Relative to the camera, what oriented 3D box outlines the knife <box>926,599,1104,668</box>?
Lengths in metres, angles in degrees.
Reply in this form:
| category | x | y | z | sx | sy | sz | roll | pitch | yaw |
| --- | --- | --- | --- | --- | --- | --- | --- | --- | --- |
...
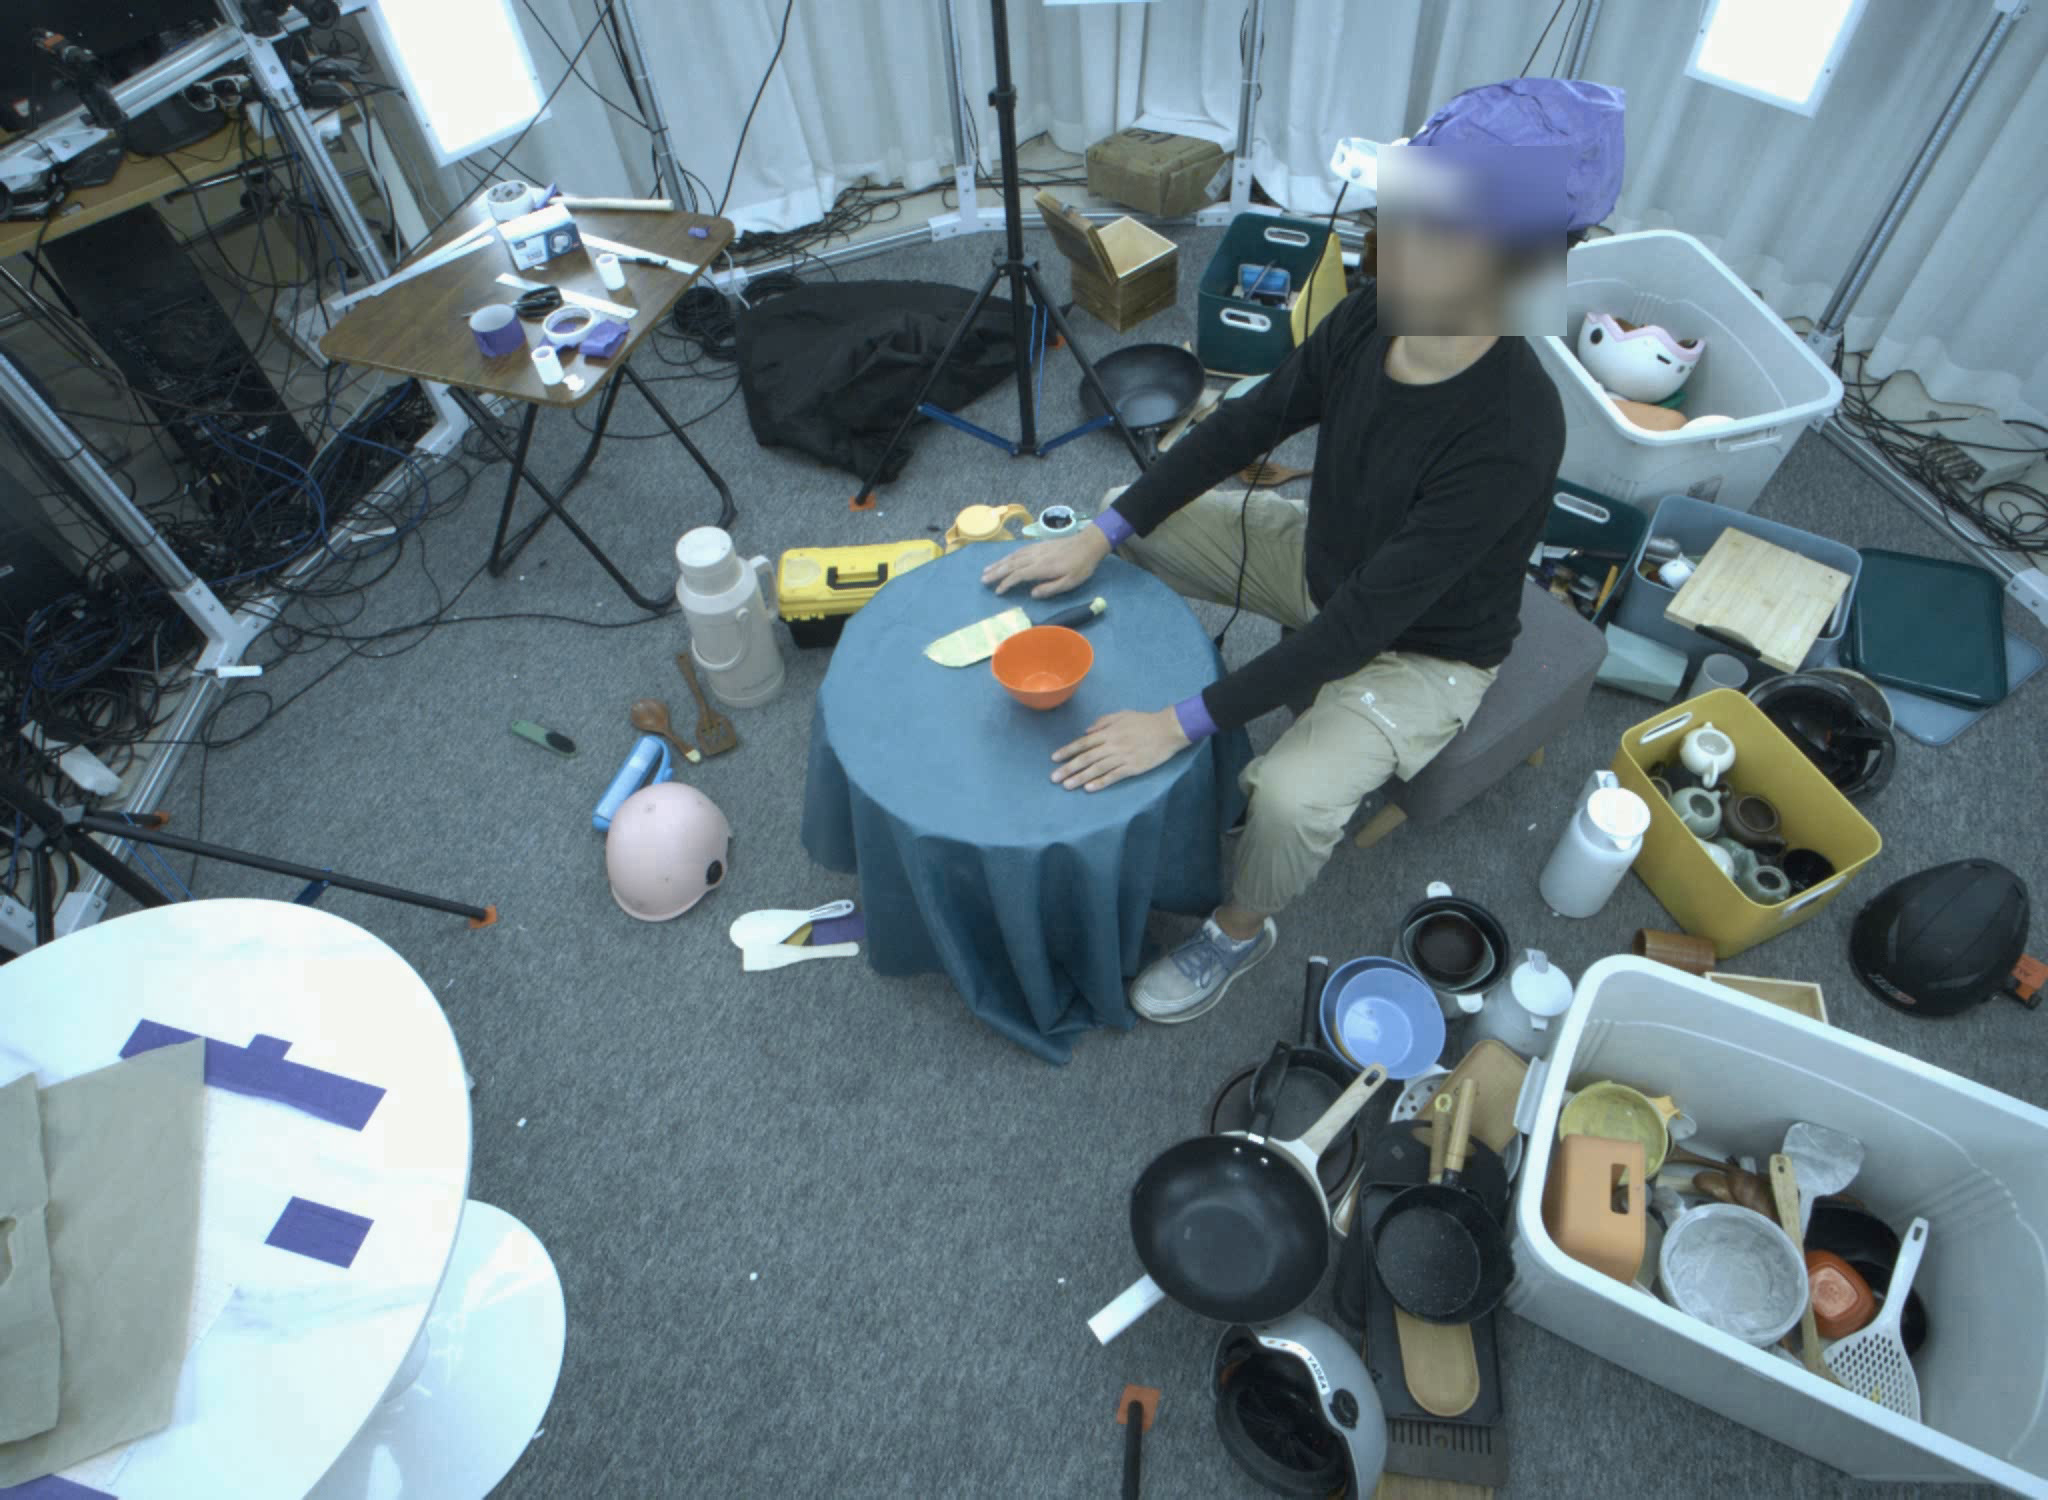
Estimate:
| category | x | y | z | sx | sy | sz | roll | pitch | yaw |
| --- | --- | --- | --- | --- | --- | --- | --- | --- | --- |
| knife | -0.015 | -0.189 | 1.910 | 0.291 | 0.027 | 0.079 | -19 | 58 | -10 |

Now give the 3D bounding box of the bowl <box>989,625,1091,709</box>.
| category | x | y | z | sx | sy | sz | roll | pitch | yaw |
| --- | --- | --- | --- | --- | --- | --- | --- | --- | --- |
| bowl | 0.026 | -0.107 | 1.796 | 0.148 | 0.106 | 0.146 | -2 | 54 | 3 |
